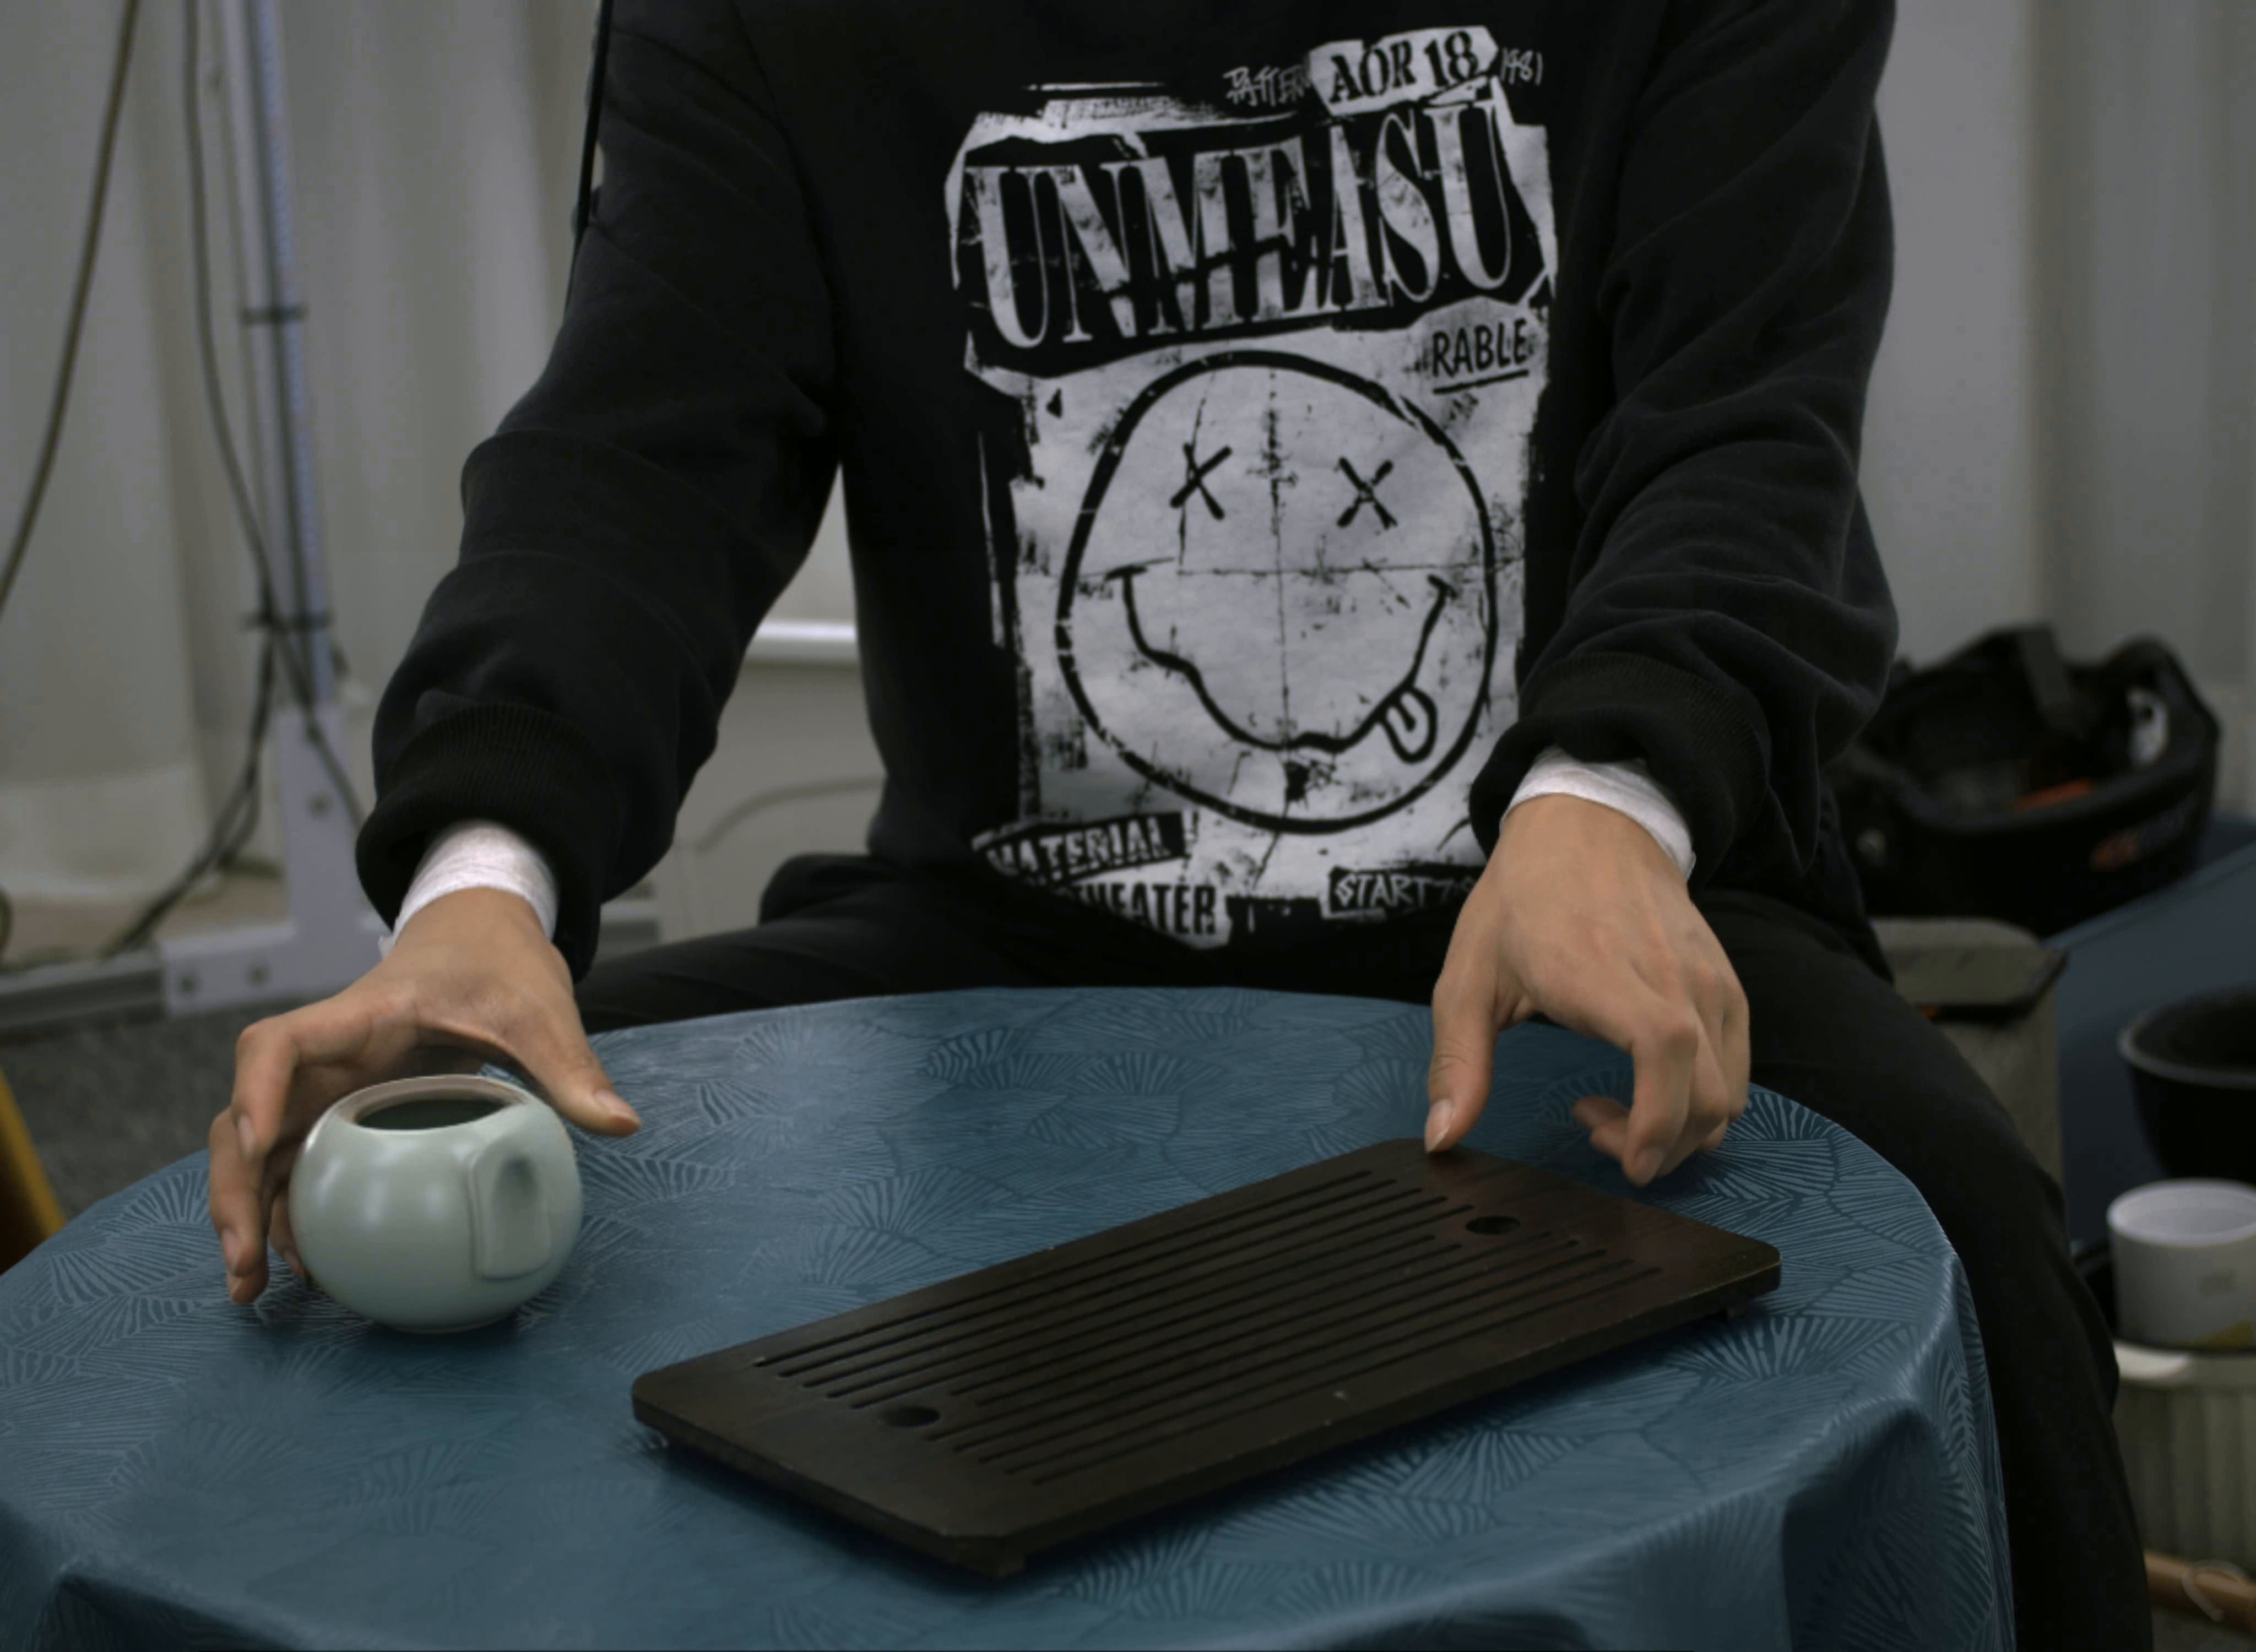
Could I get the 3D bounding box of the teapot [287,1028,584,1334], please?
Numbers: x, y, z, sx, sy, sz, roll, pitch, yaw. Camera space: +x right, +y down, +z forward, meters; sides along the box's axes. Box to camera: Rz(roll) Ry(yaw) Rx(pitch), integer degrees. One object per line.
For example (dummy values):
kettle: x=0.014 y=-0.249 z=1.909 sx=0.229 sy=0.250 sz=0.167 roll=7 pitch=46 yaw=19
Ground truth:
teapot: x=-0.206 y=0.110 z=1.630 sx=0.088 sy=0.074 sz=0.145 roll=-12 pitch=19 yaw=-32

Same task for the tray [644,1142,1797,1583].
tray: x=0.029 y=0.148 z=1.548 sx=0.305 sy=0.018 sz=0.171 roll=-14 pitch=18 yaw=-36
